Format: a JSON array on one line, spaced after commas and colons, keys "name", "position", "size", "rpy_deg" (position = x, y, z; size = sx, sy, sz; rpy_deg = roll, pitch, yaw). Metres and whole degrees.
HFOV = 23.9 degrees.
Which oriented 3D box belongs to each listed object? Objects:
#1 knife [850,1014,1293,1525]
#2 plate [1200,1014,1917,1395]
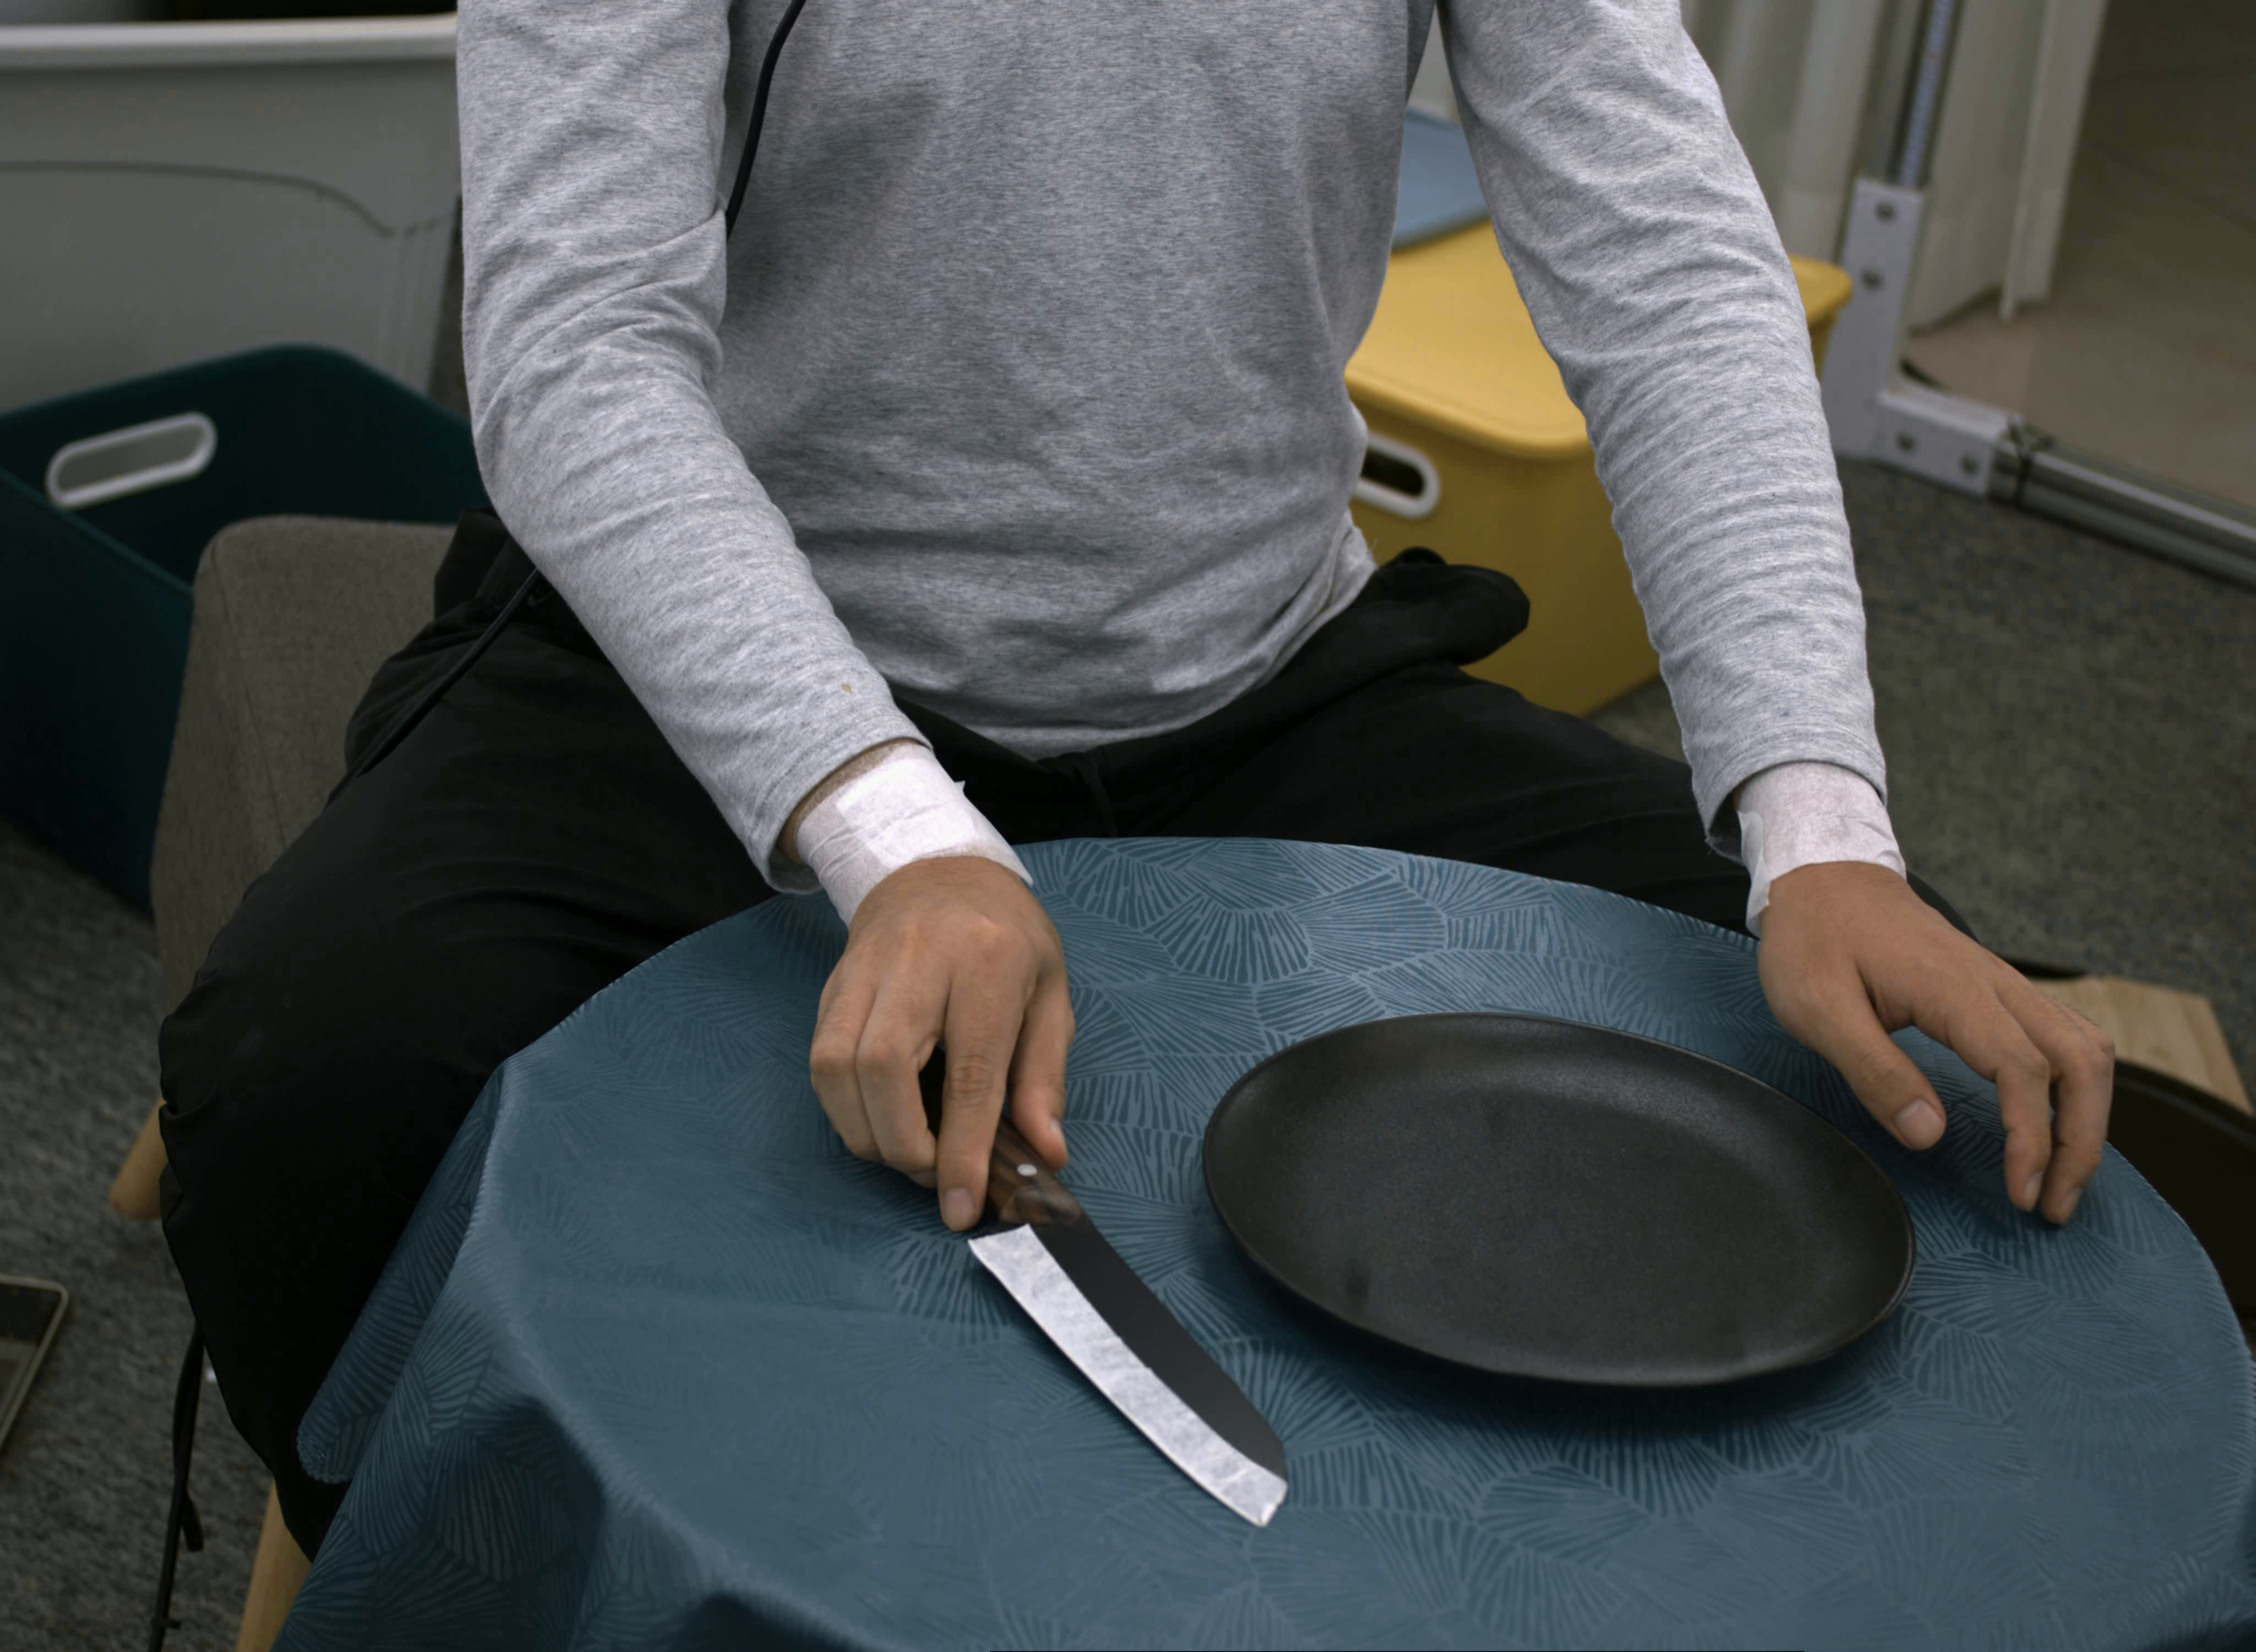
[{"name": "knife", "position": [-0.022, 0.143, 1.742], "size": [0.050, 0.020, 0.292], "rpy_deg": [-12, 35, -25]}, {"name": "plate", "position": [0.144, 0.132, 1.797], "size": [0.243, 0.023, 0.246], "rpy_deg": [5, 27, -3]}]
